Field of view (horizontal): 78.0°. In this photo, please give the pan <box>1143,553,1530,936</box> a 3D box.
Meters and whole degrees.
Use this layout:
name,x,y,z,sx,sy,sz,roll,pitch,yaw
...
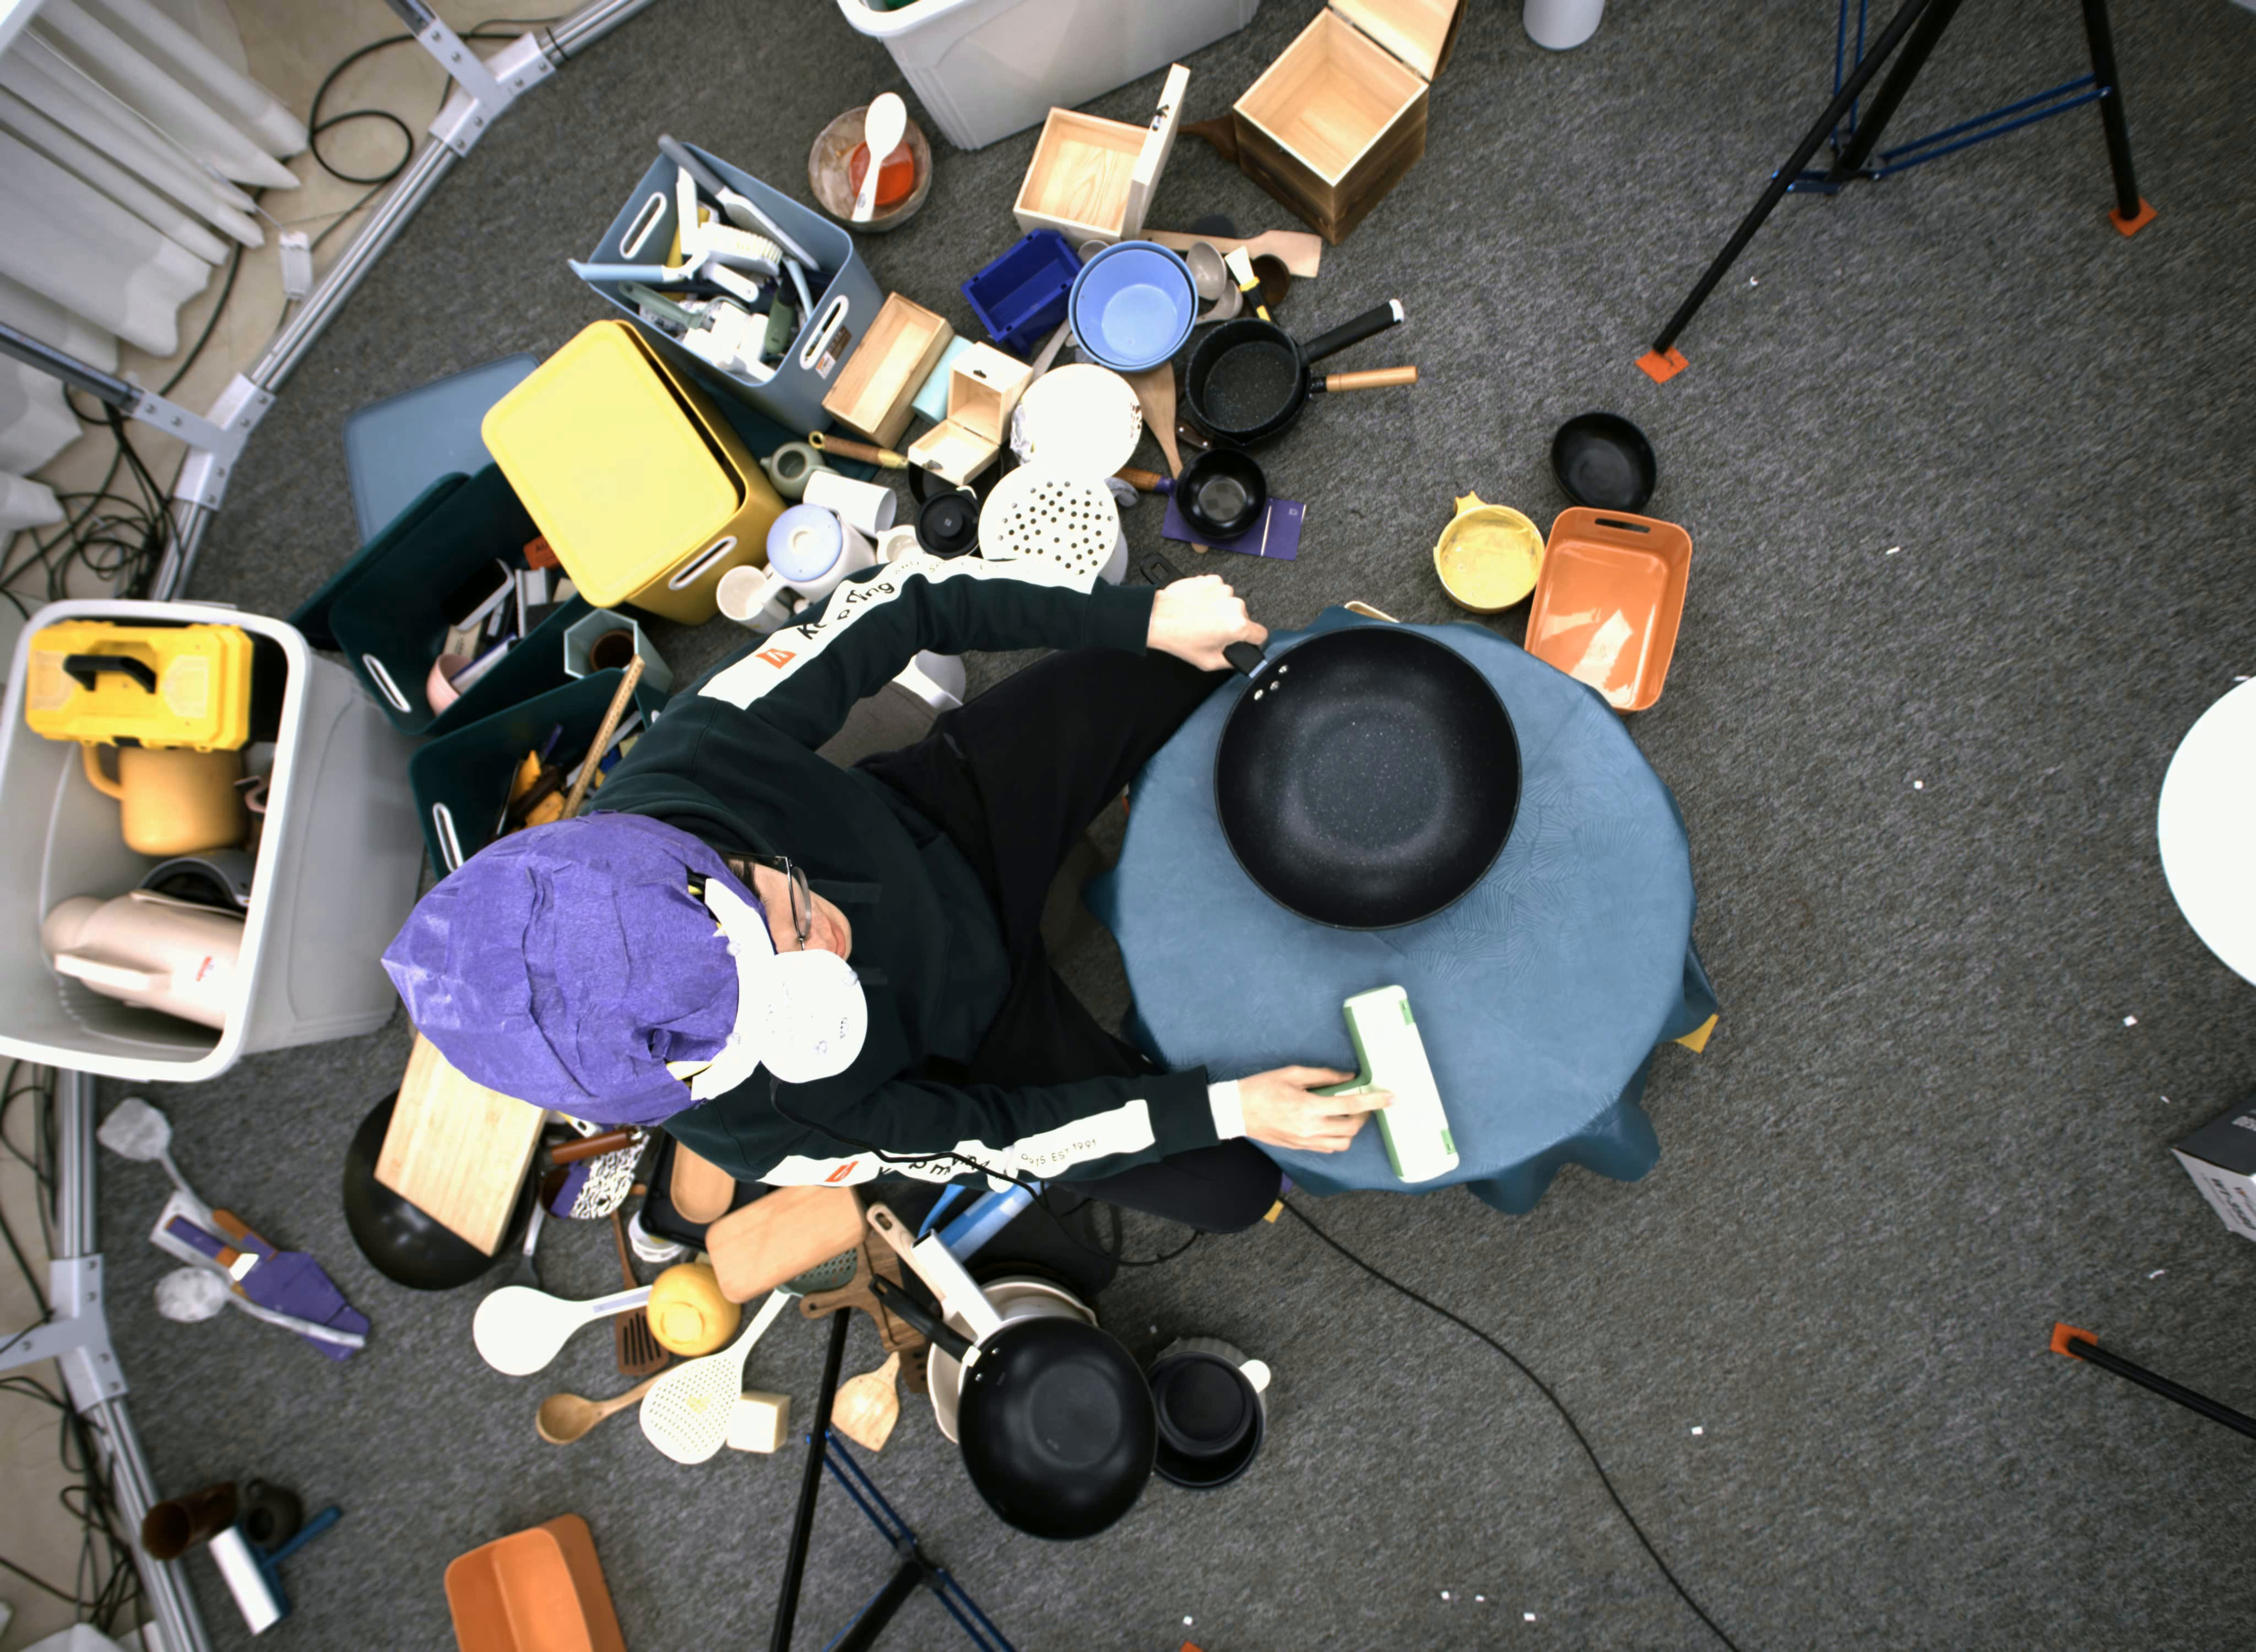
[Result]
name,x,y,z,sx,sy,sz,roll,pitch,yaw
pan,0.193,-0.104,1.418,0.313,0.111,0.474,-46,78,12

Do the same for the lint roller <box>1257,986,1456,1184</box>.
name,x,y,z,sx,sy,sz,roll,pitch,yaw
lint roller,0.220,0.278,1.411,0.184,0.082,0.198,-17,88,6
